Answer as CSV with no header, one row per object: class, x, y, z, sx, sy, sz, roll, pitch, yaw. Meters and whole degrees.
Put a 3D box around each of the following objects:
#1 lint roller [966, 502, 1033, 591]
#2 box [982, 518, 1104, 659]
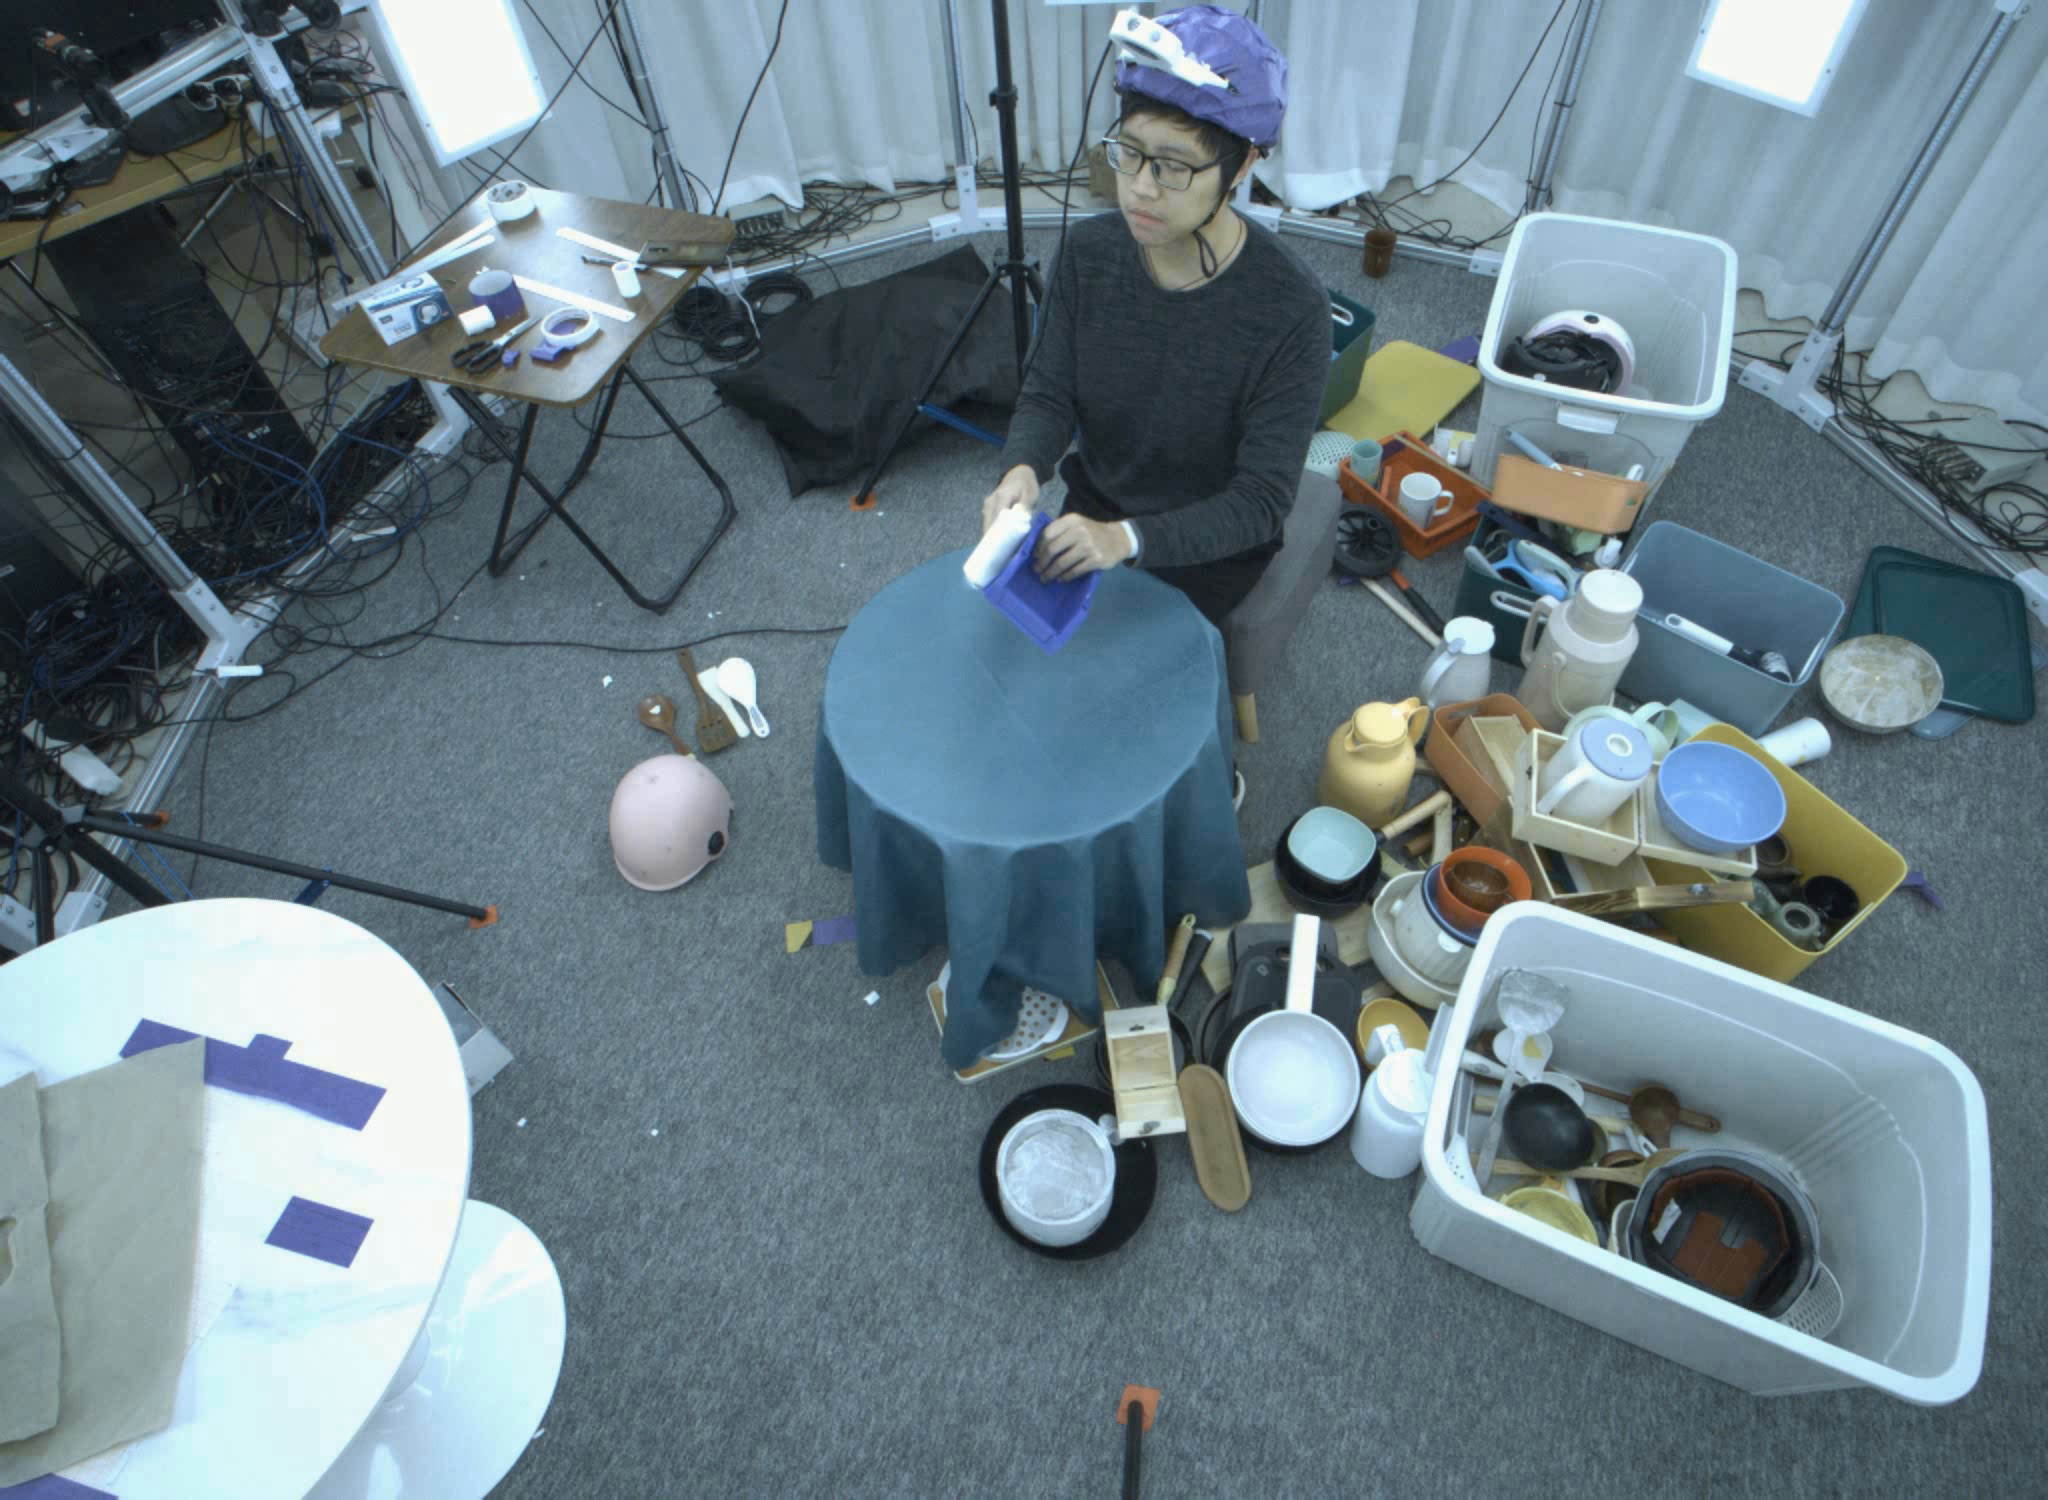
lint roller,-0.032,-0.310,1.694,0.051,0.132,0.179,26,34,-18
box,0.025,-0.210,1.629,0.126,0.081,0.179,42,30,-14
